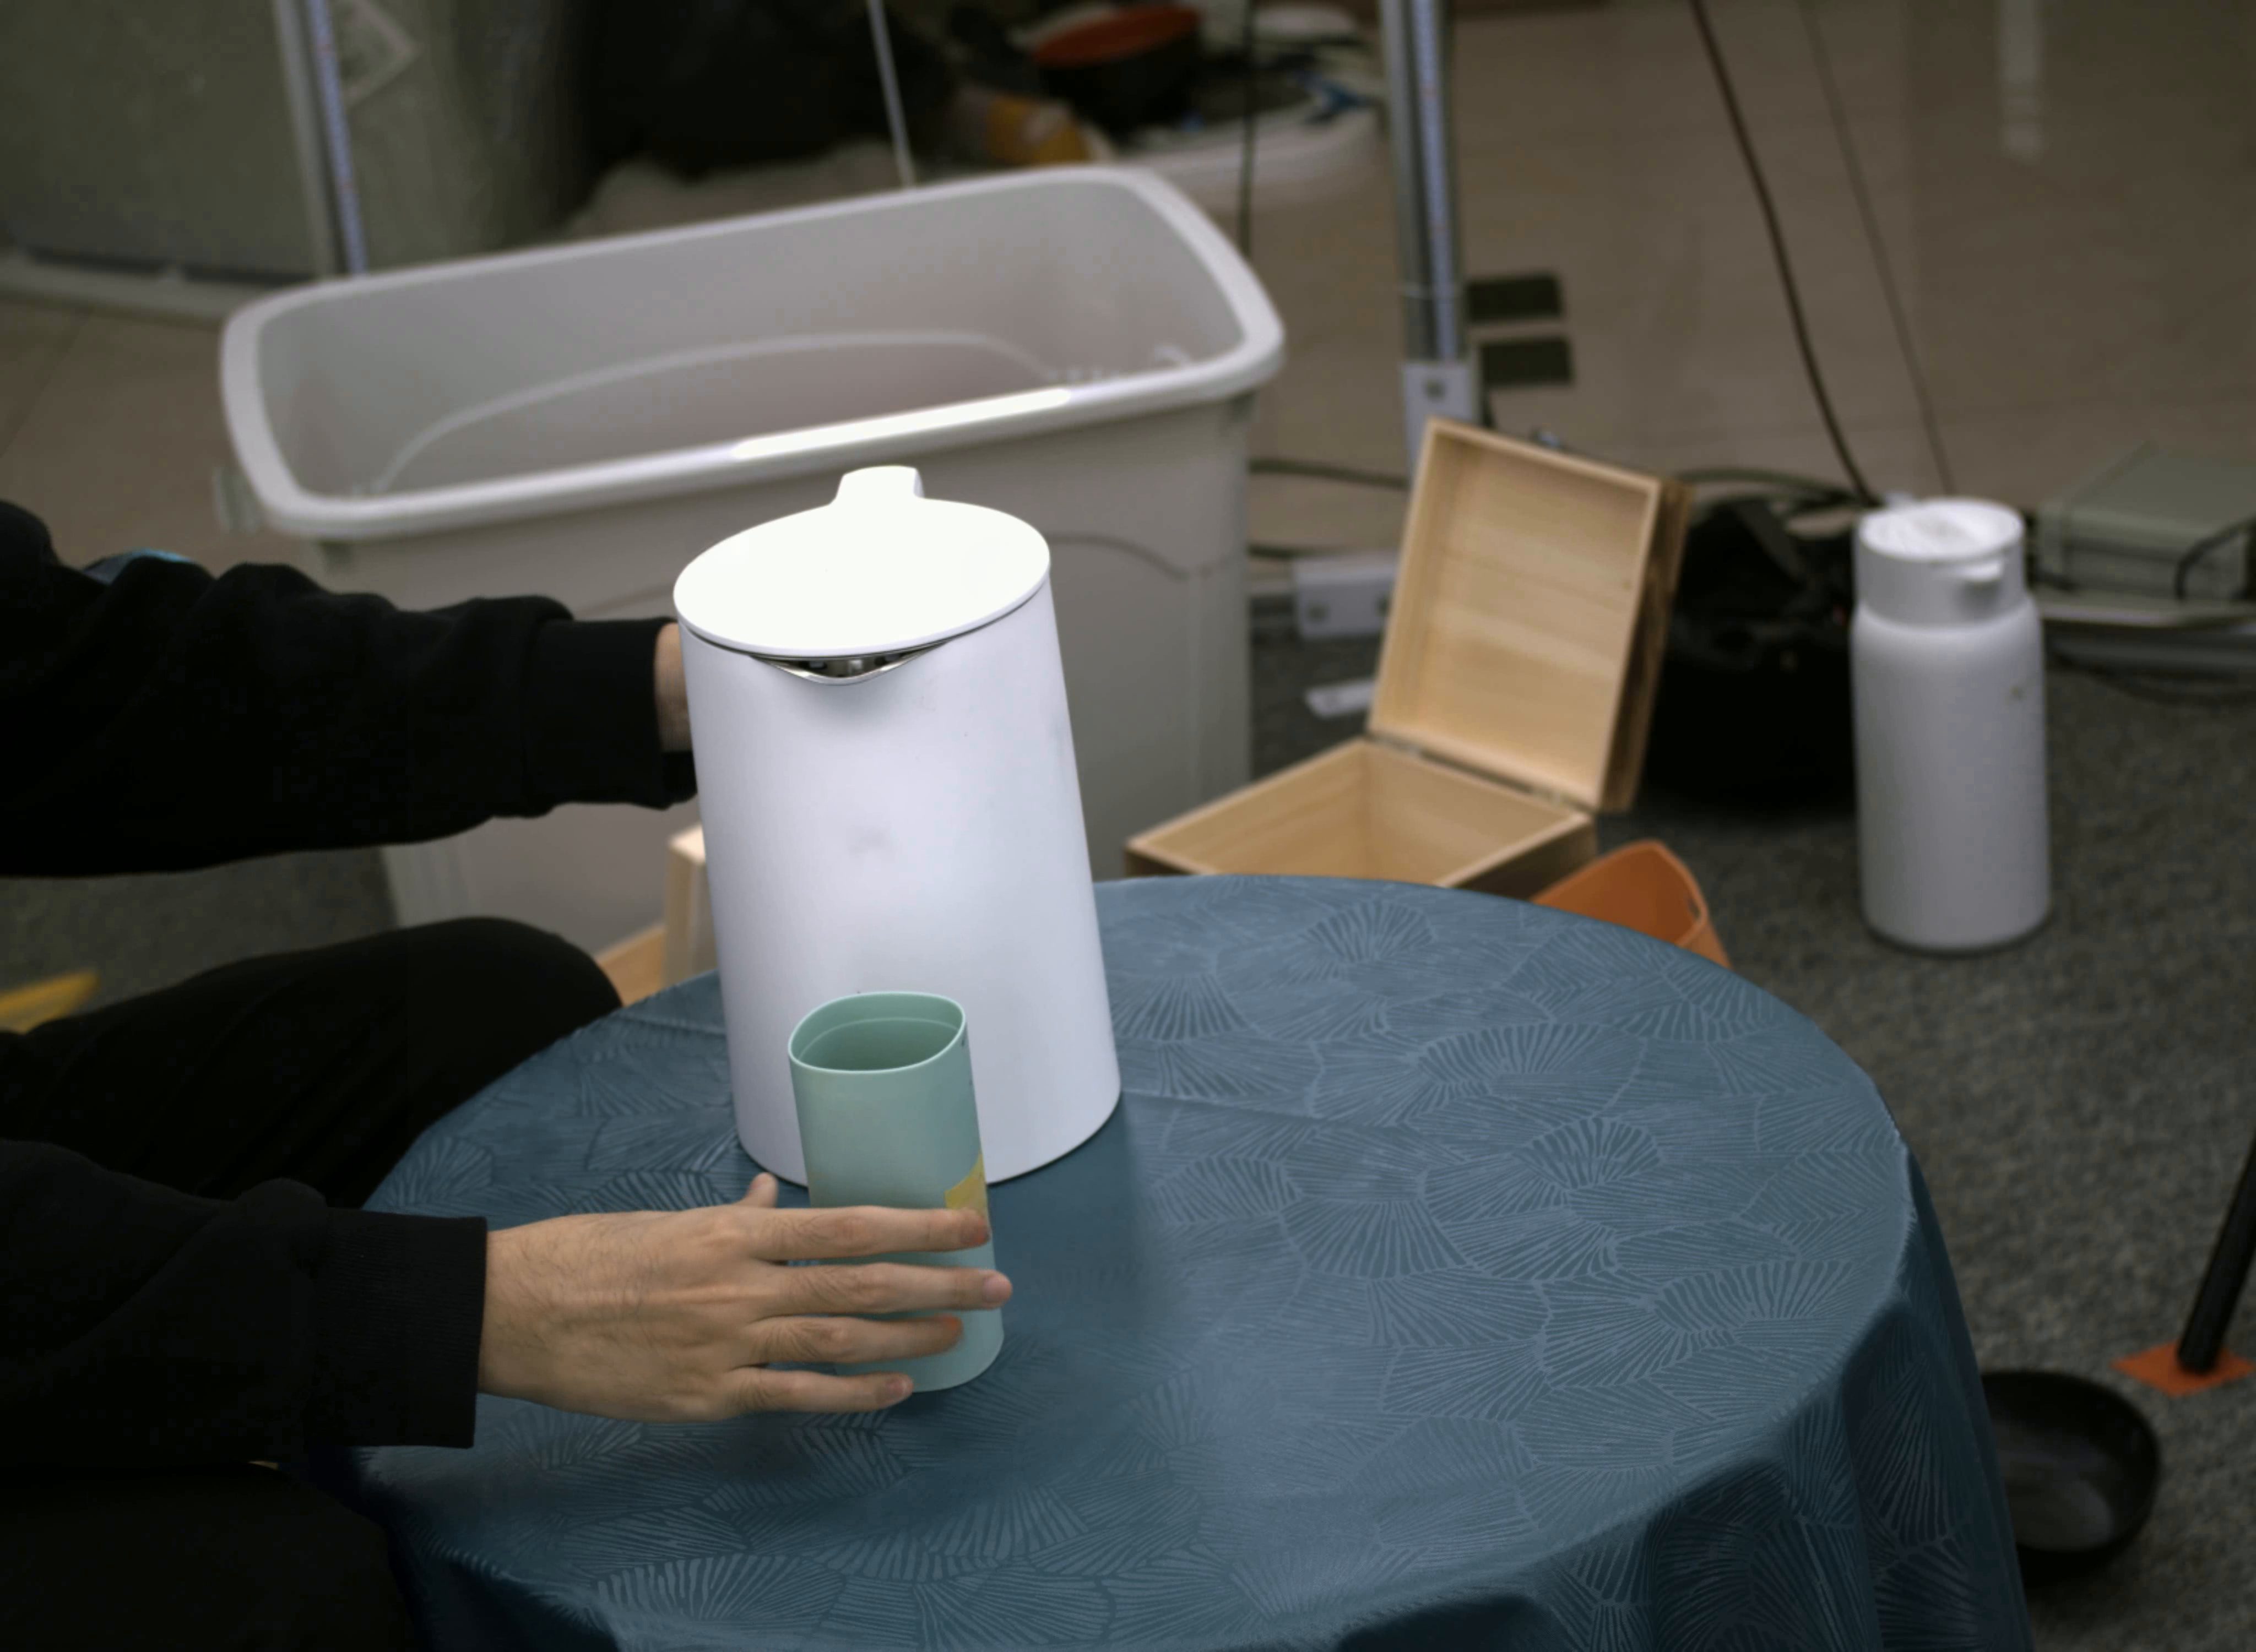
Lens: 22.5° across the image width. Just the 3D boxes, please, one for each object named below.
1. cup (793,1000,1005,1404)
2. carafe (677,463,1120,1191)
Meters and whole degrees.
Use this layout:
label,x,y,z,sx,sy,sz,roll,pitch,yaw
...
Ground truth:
label,x,y,z,sx,sy,sz,roll,pitch,yaw
cup,-0.082,0.134,2.026,0.066,0.134,0.066,-4,27,2
carafe,-0.087,-0.004,2.194,0.152,0.244,0.210,-3,26,4
